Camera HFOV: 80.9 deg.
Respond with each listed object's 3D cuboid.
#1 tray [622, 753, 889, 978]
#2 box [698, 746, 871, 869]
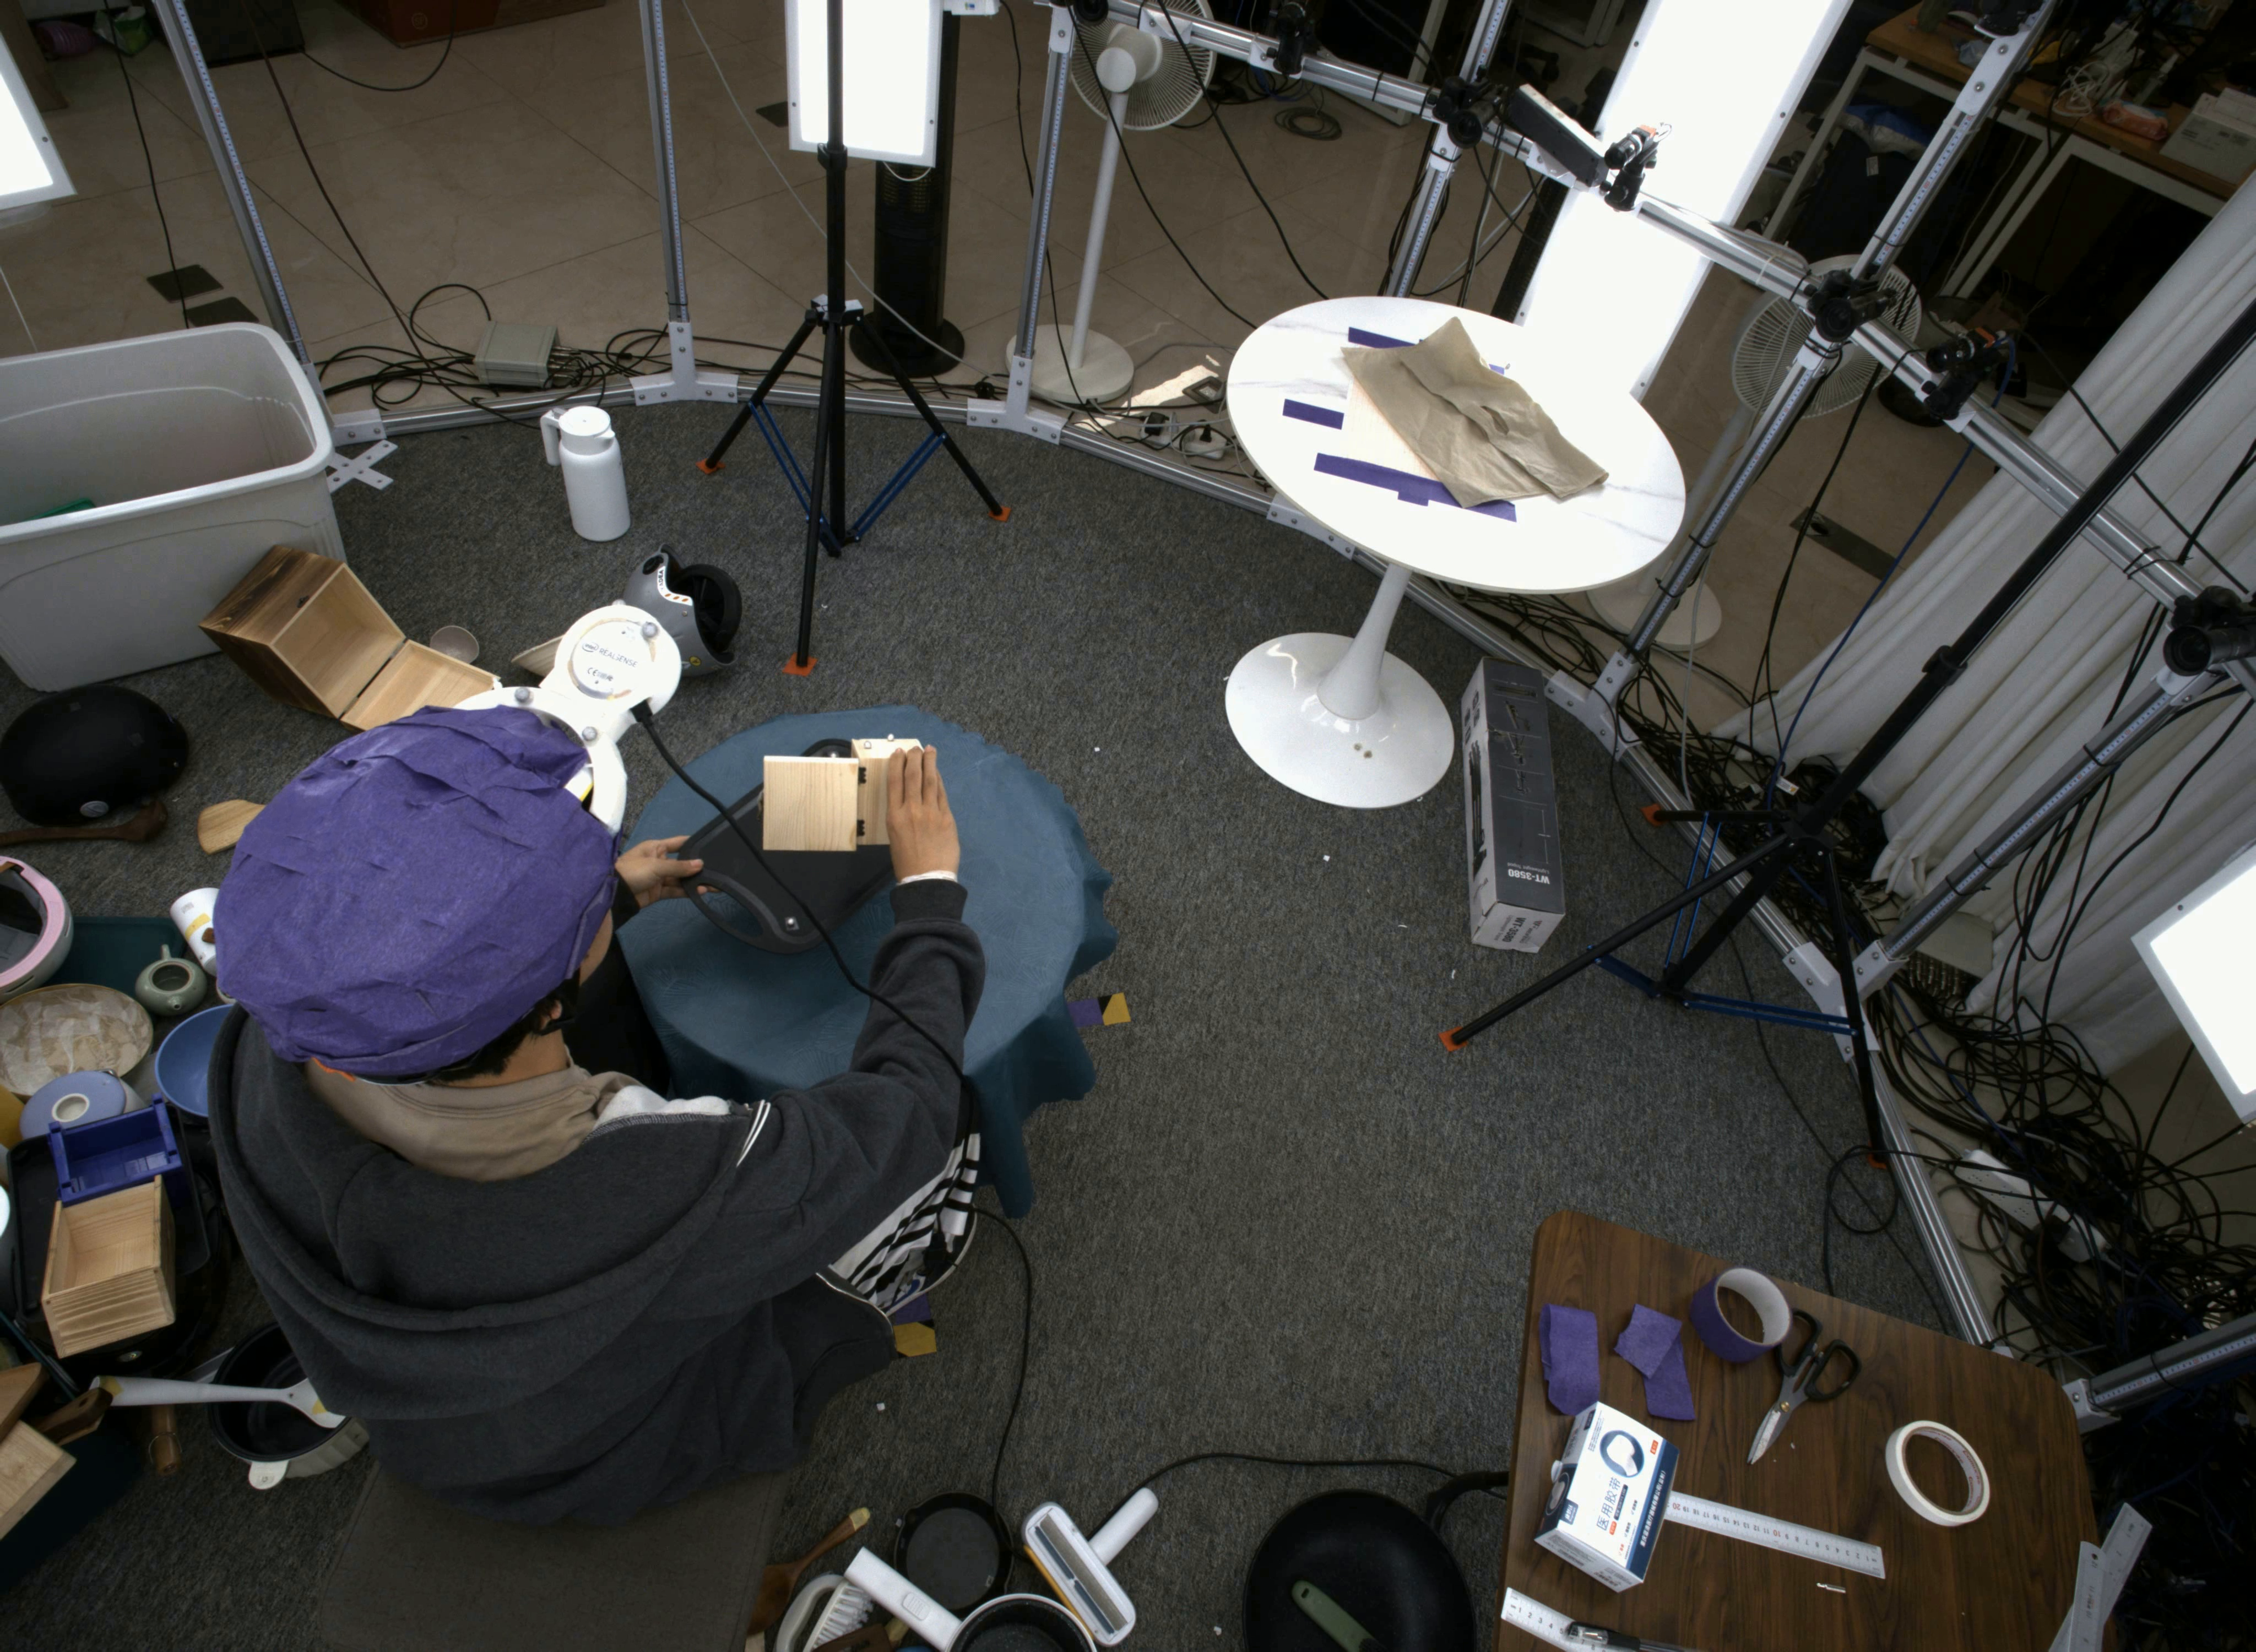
[{"bbox_3d":[-0.448,0.042,1.559,0.209,0.010,0.324,36,49,5],"label":"tray"},{"bbox_3d":[-0.385,-0.025,1.443,0.186,0.105,0.130,-3,17,-21],"label":"box"}]
